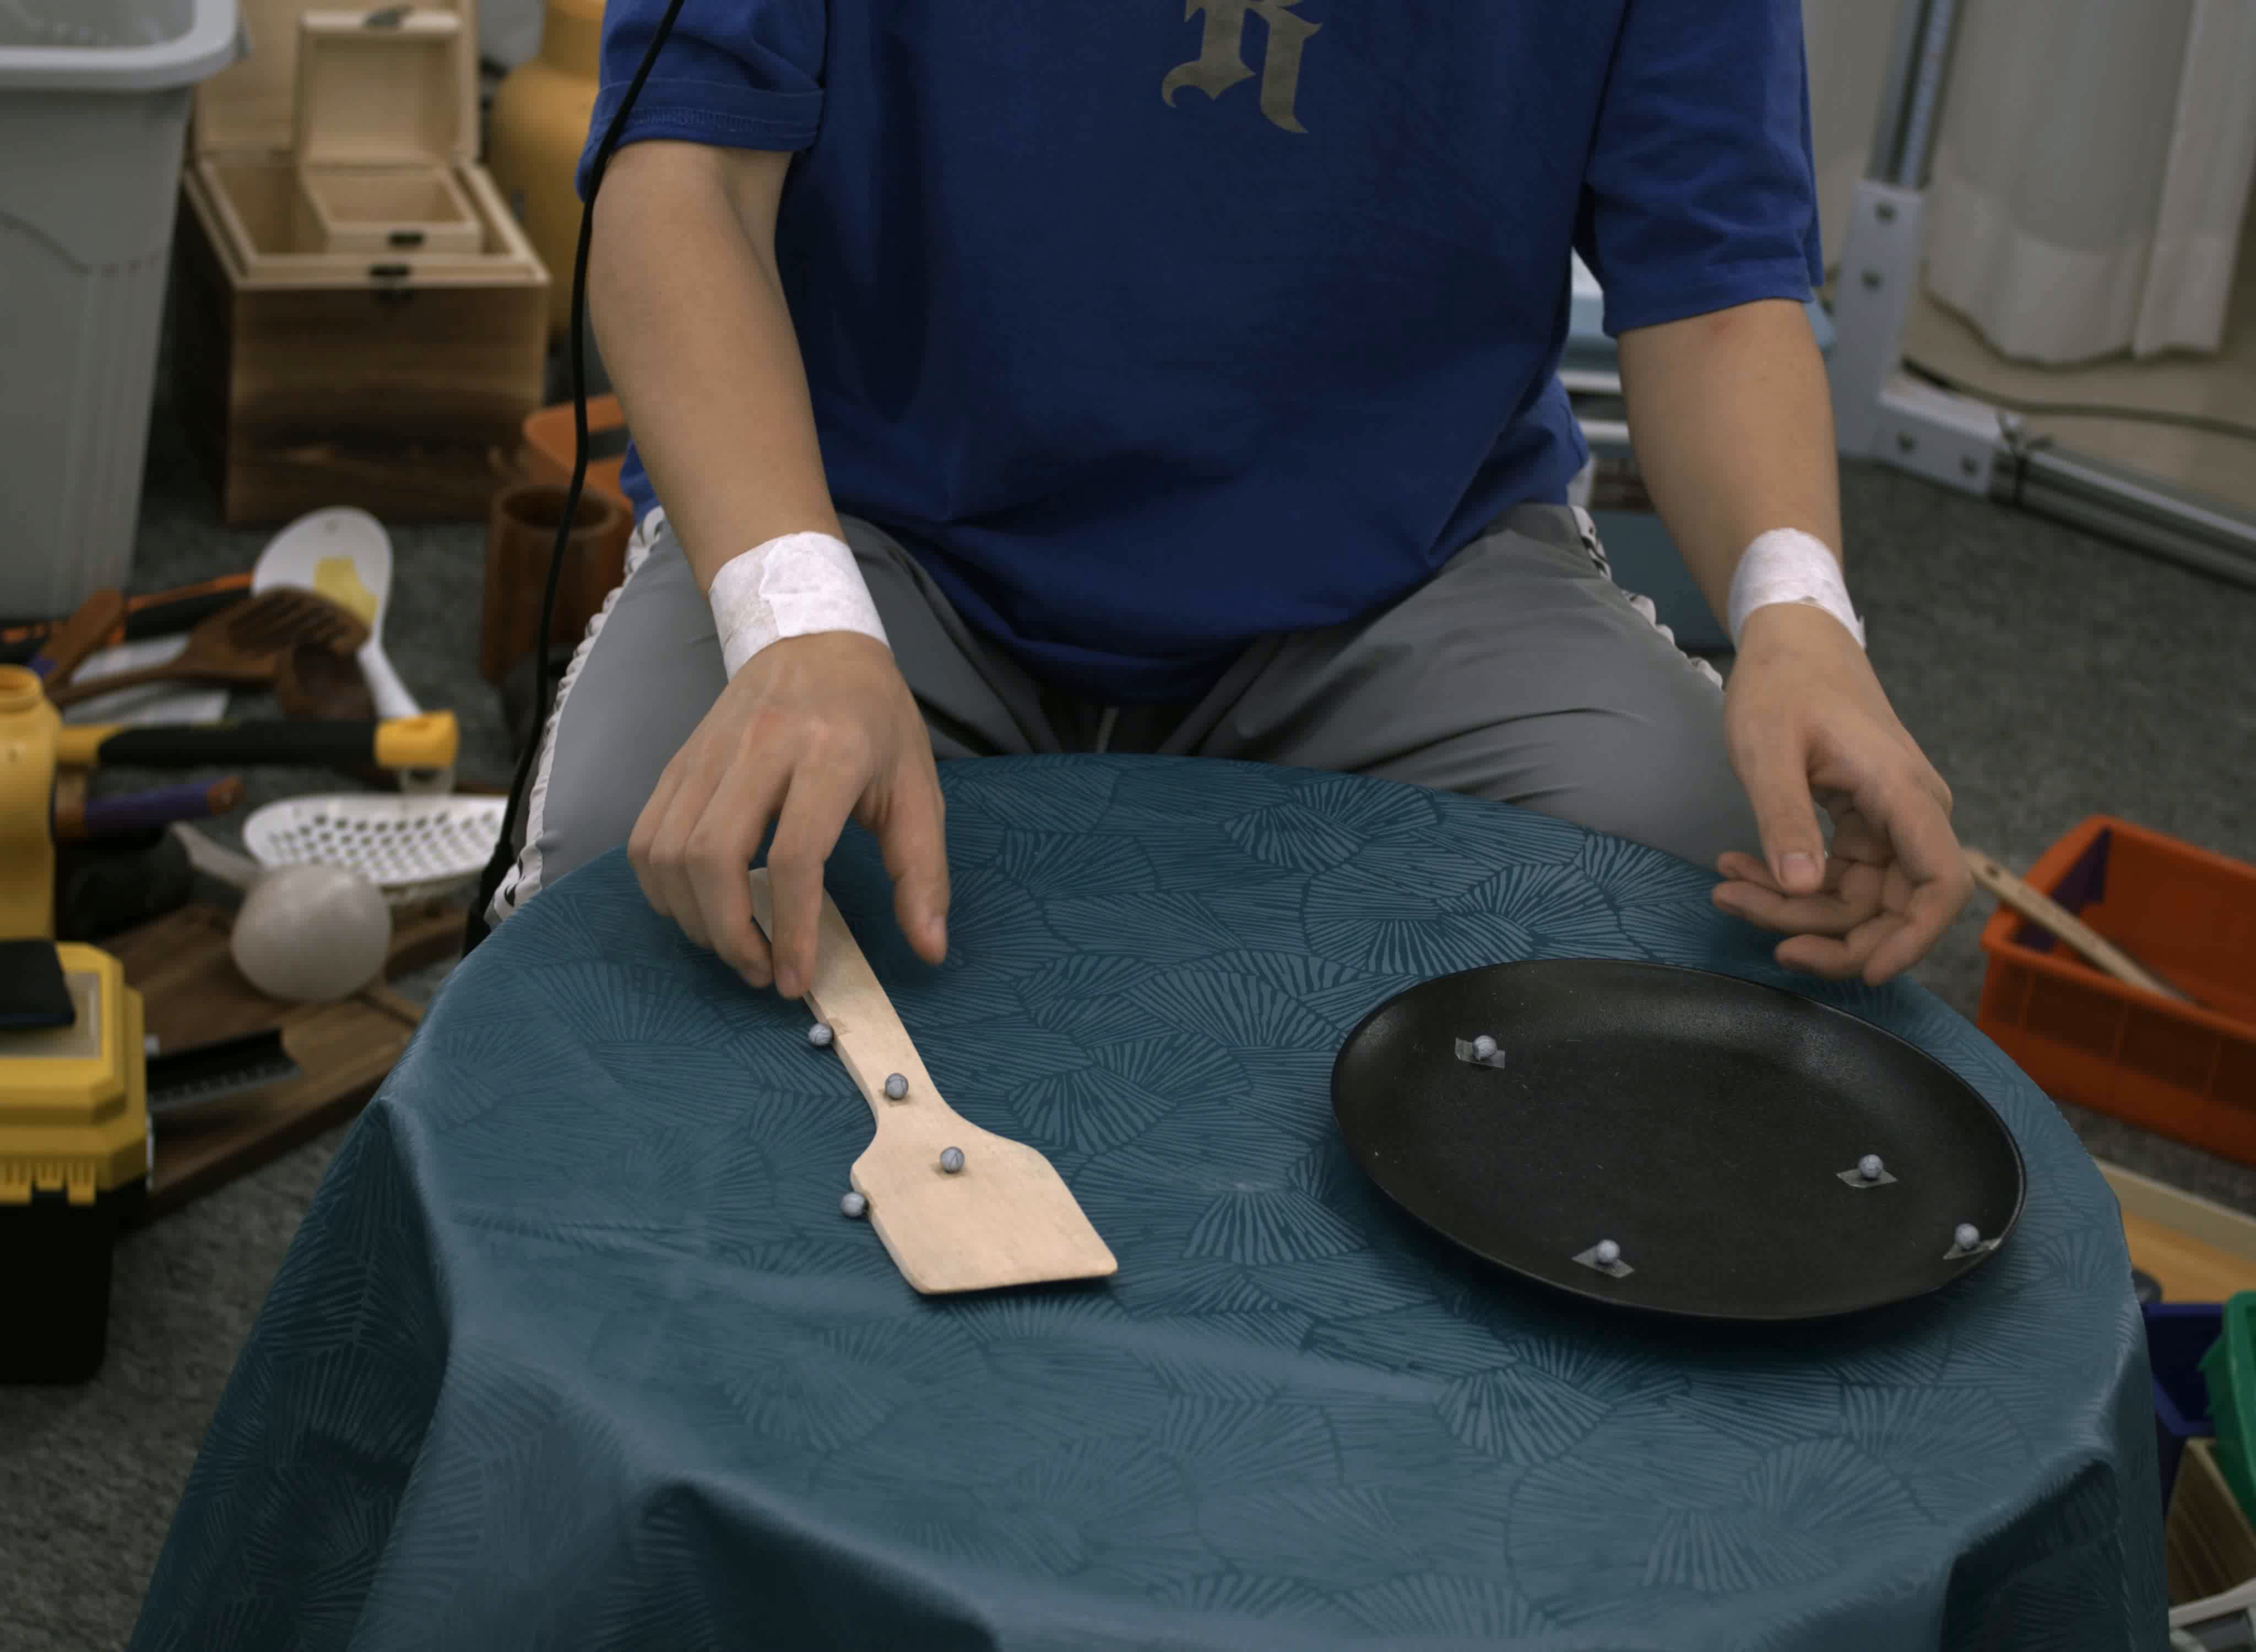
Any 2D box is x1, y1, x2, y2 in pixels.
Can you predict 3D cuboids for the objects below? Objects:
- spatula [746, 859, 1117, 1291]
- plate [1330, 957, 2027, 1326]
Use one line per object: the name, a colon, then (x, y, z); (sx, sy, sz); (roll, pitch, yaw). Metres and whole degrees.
spatula: (-0.084, 0.083, 1.855); (0.072, 0.010, 0.295); (-5, 29, -19)
plate: (0.188, 0.113, 1.842); (0.243, 0.023, 0.246); (5, 27, -3)
